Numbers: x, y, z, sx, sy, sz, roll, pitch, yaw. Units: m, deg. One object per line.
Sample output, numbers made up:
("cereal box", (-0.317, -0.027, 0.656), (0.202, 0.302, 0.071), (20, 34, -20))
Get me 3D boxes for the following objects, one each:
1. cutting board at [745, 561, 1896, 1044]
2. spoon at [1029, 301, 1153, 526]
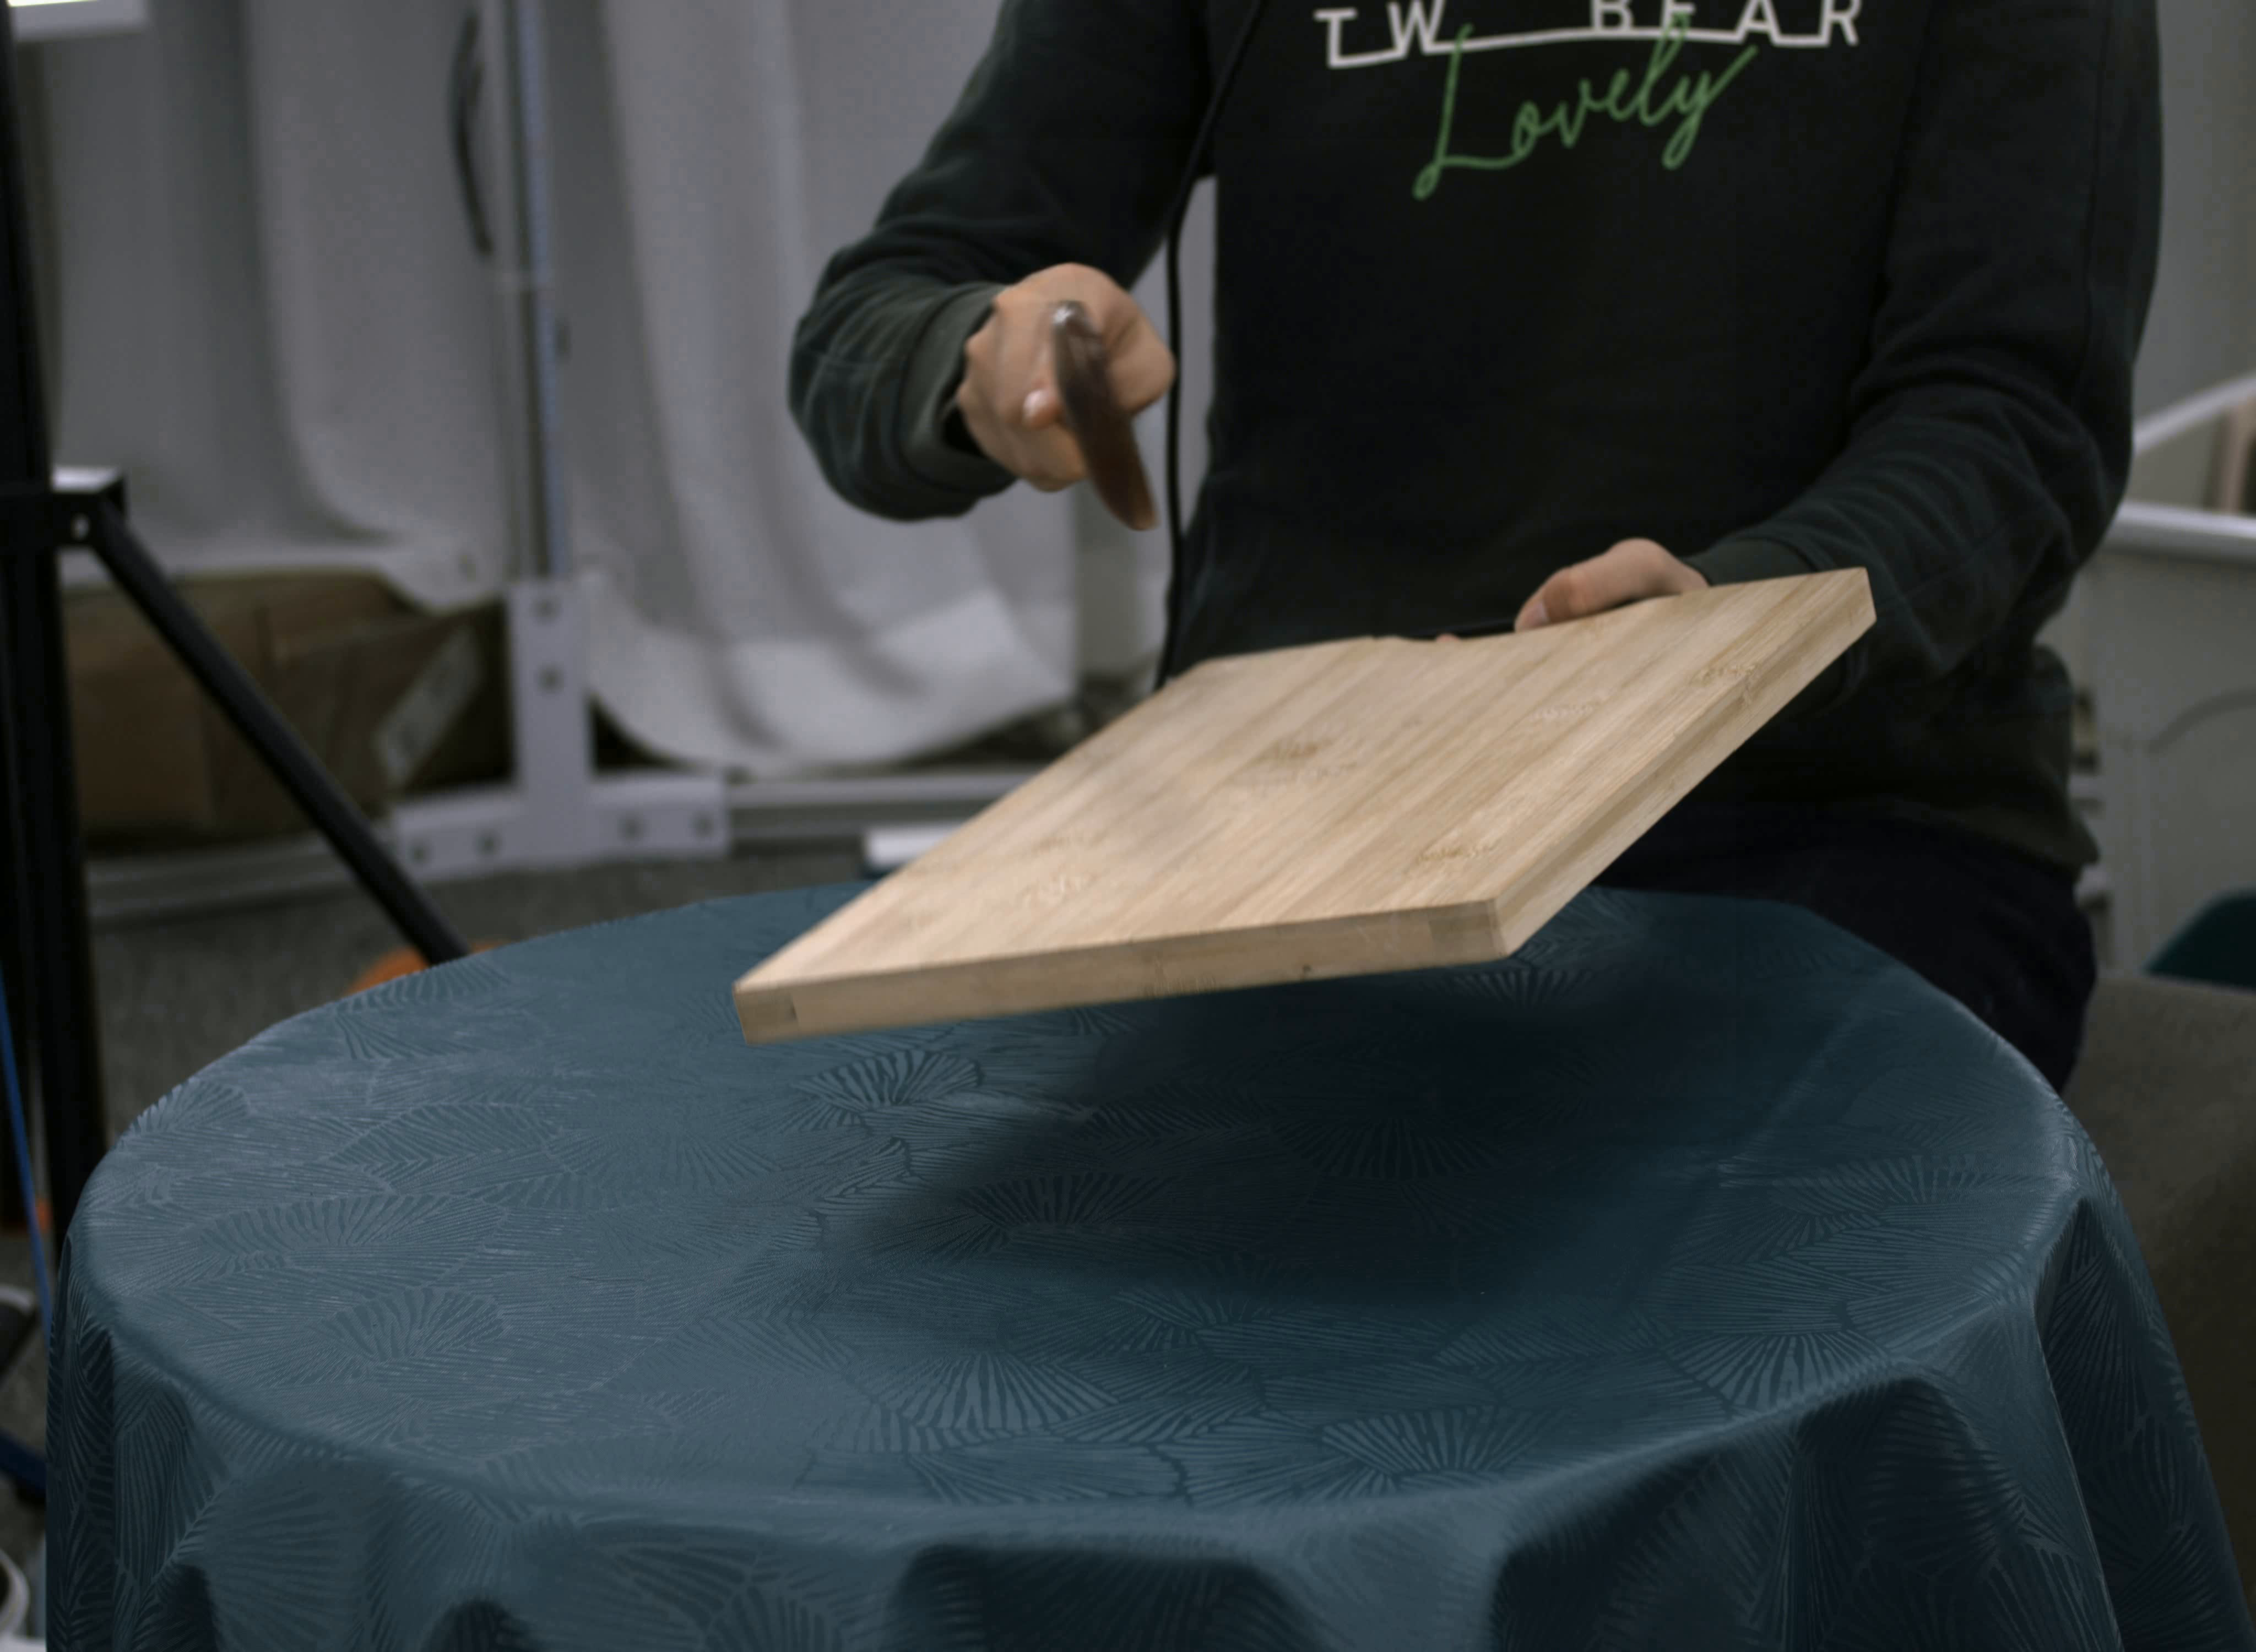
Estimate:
("cutting board", (0.067, -0.008, 1.603), (0.254, 0.023, 0.344), (-8, 14, 27))
("spoon", (-0.018, -0.131, 1.684), (0.017, 0.075, 0.216), (-24, 7, -1))
